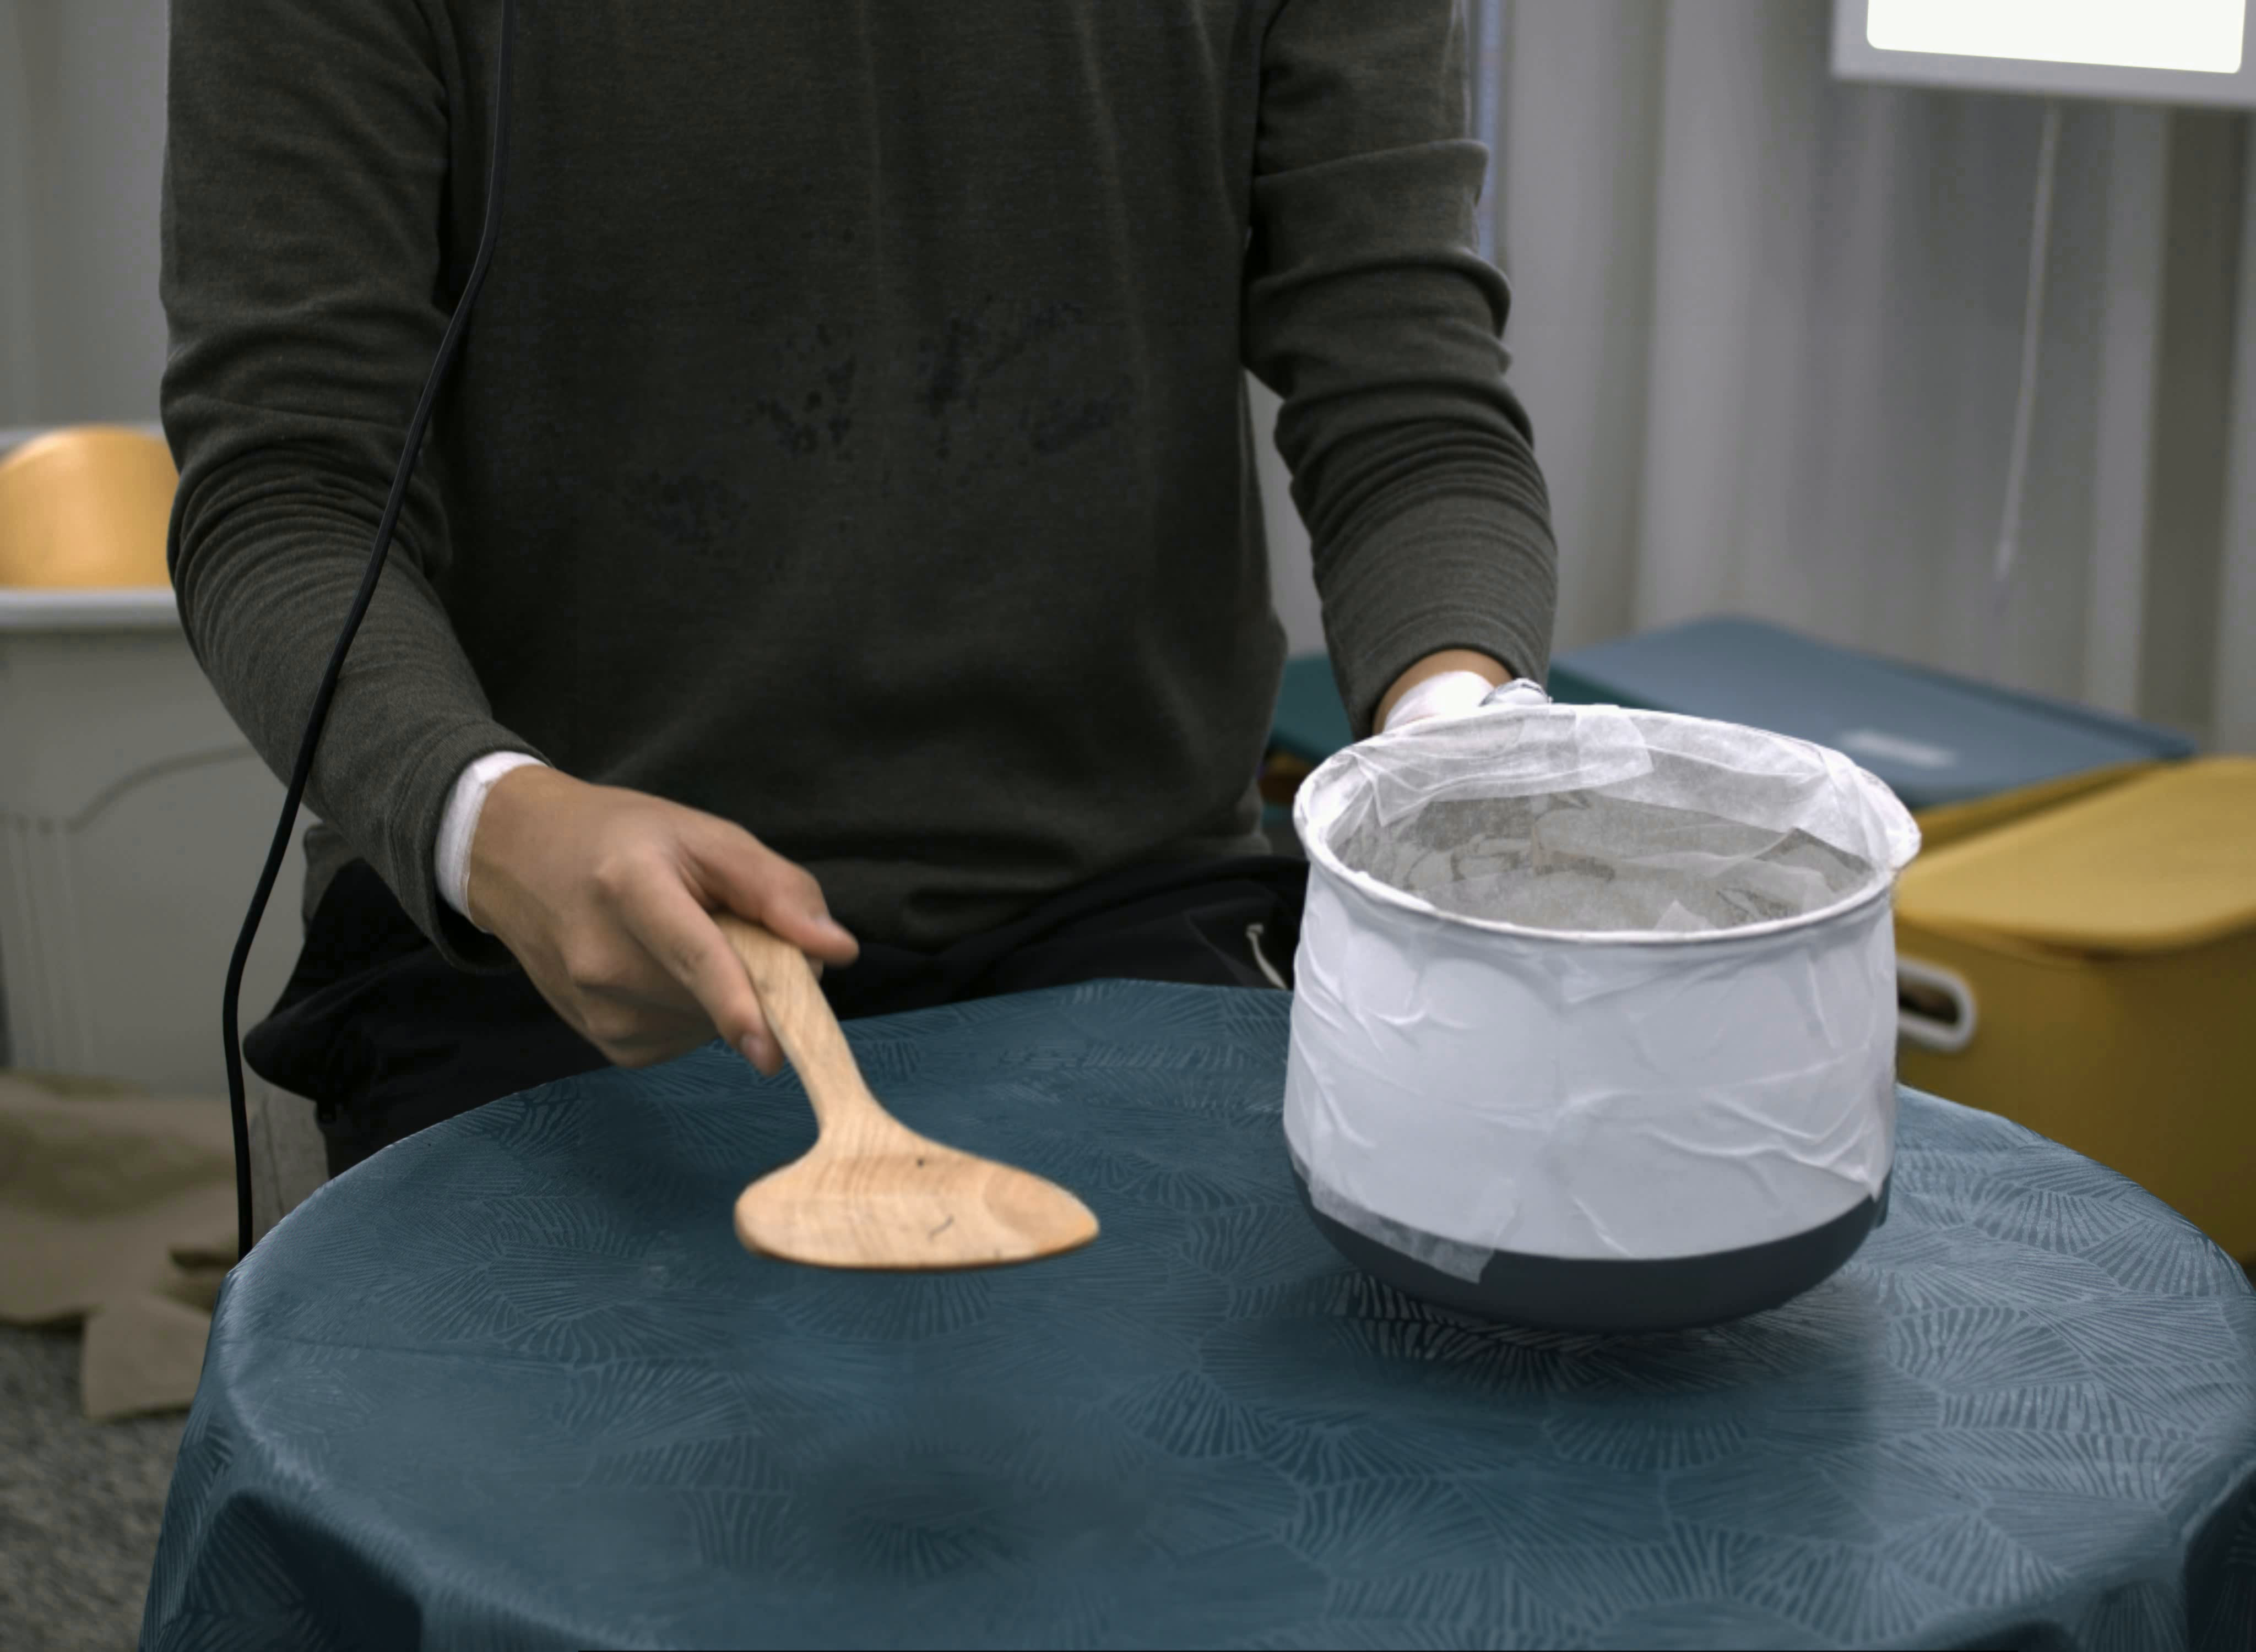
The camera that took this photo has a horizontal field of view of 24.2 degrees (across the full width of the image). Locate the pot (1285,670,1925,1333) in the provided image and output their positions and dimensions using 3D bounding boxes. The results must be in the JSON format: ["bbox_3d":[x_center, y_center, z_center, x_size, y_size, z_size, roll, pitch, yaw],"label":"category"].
[{"bbox_3d":[0.129,0.044,1.532,0.179,0.138,0.231,-3,23,-11],"label":"pot"}]

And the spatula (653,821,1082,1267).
[{"bbox_3d":[-0.098,0.056,1.494,0.096,0.018,0.387,-2,18,-14],"label":"spatula"}]
